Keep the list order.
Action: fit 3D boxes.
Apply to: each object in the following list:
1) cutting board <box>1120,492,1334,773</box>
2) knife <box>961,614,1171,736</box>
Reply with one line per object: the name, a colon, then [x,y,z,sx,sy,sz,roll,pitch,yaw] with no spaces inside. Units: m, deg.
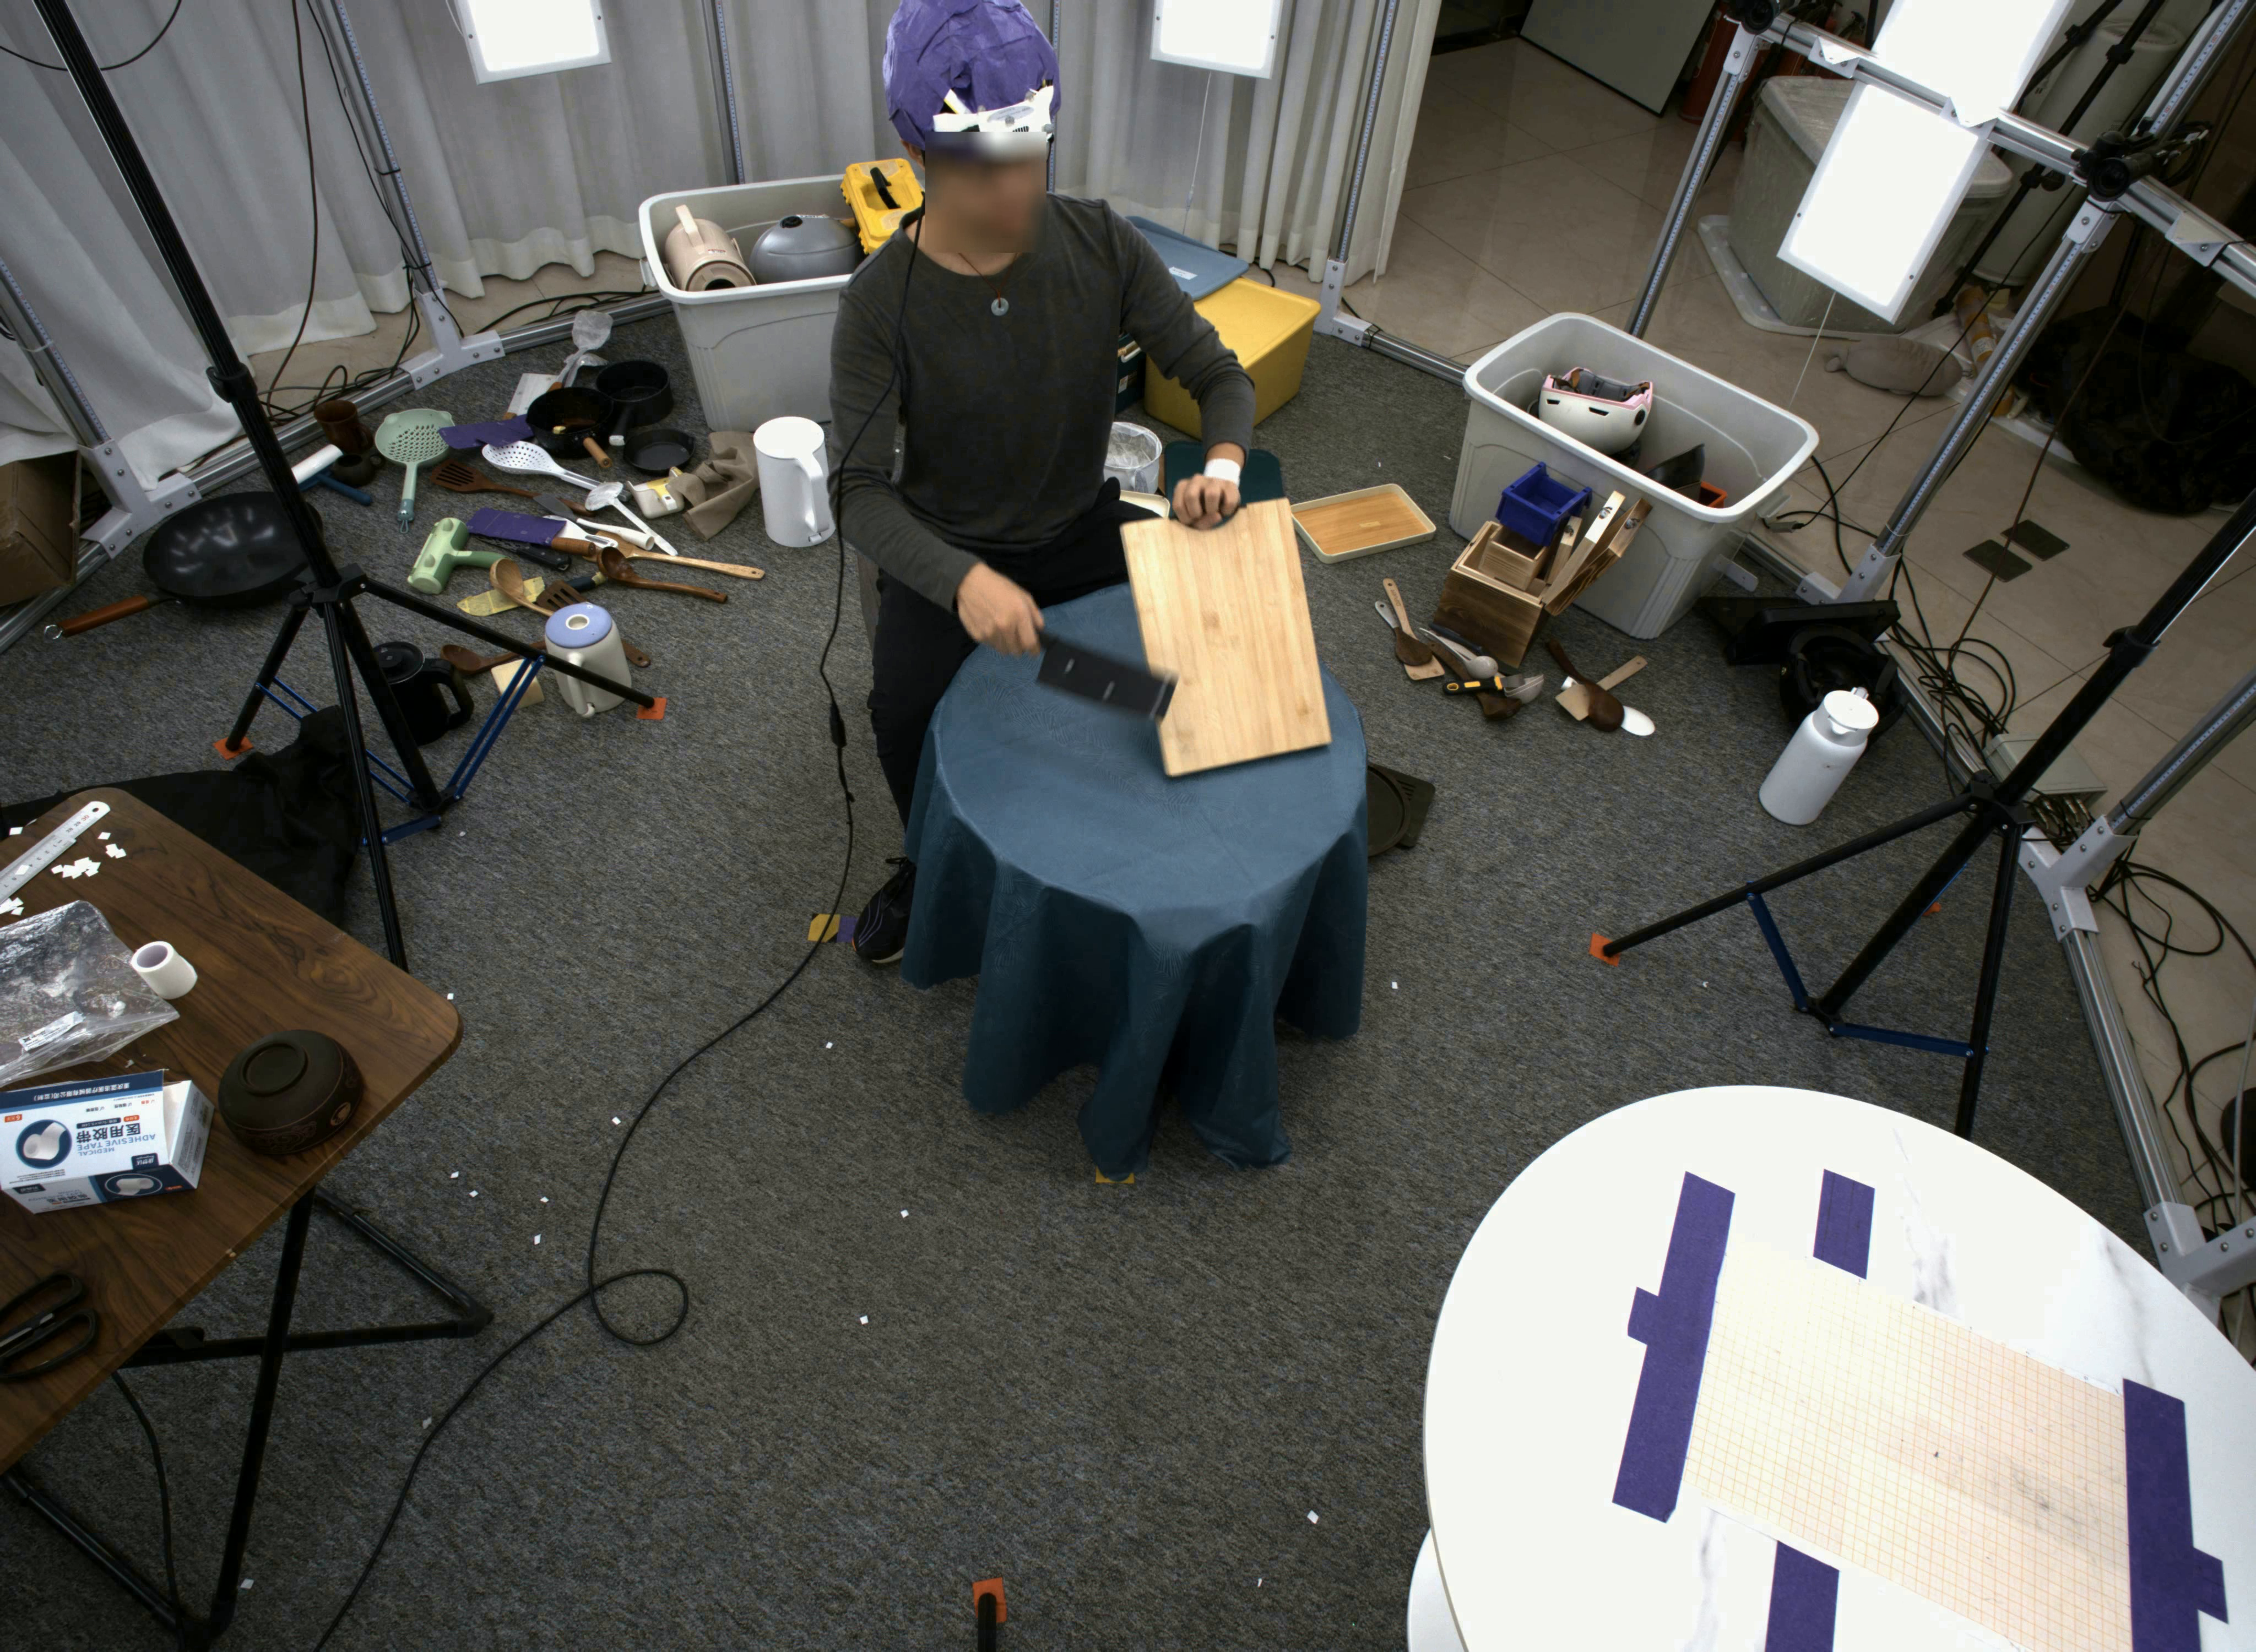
cutting board: [0.137,-0.259,1.738,0.251,0.023,0.347,-13,94,-15]
knife: [-0.085,-0.200,1.650,0.305,0.021,0.080,28,97,17]
